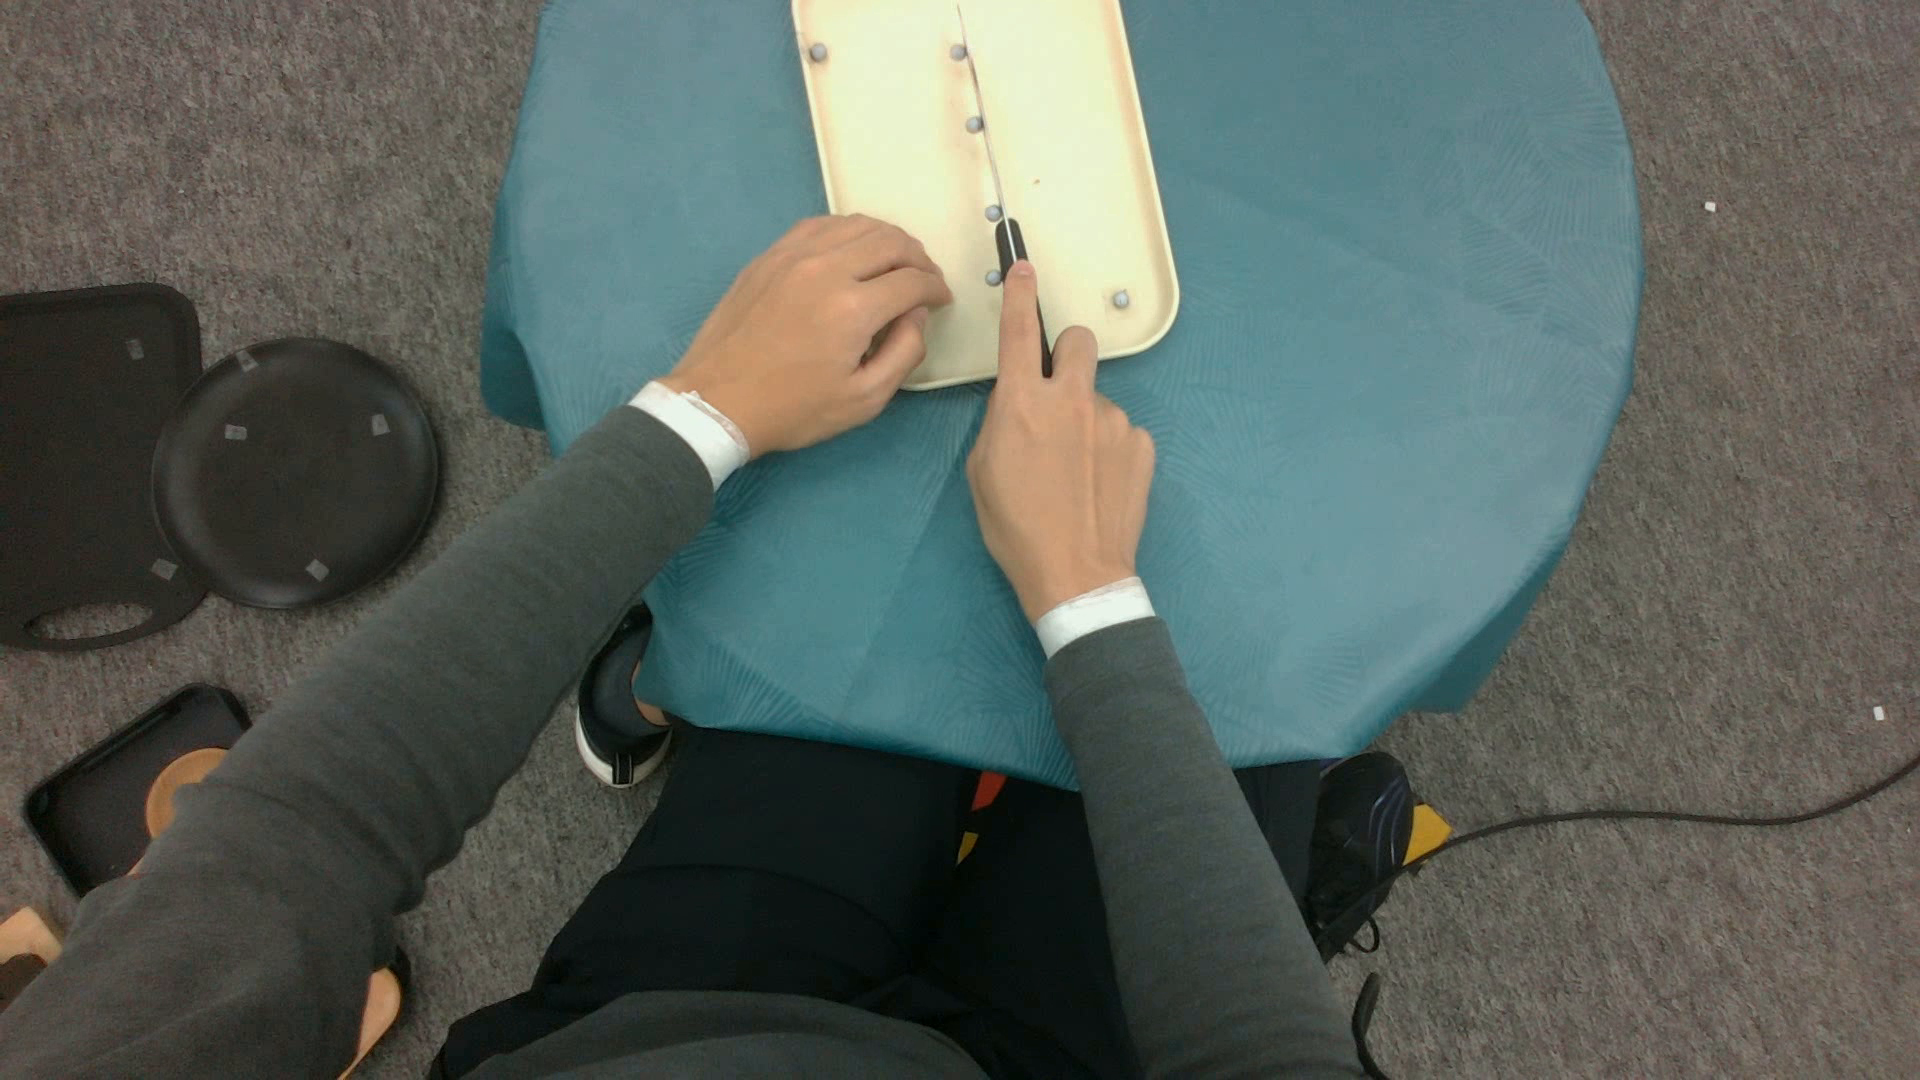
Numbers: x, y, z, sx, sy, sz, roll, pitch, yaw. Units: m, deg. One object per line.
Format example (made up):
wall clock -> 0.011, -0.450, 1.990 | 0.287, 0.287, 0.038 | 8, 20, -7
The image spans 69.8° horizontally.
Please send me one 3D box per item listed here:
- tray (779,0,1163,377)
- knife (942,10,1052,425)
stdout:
tray -> 0.005, -0.206, 0.718 | 0.171, 0.017, 0.240 | -9, 82, -6
knife -> 0.015, -0.170, 0.699 | 0.016, 0.024, 0.238 | -13, 75, 2
